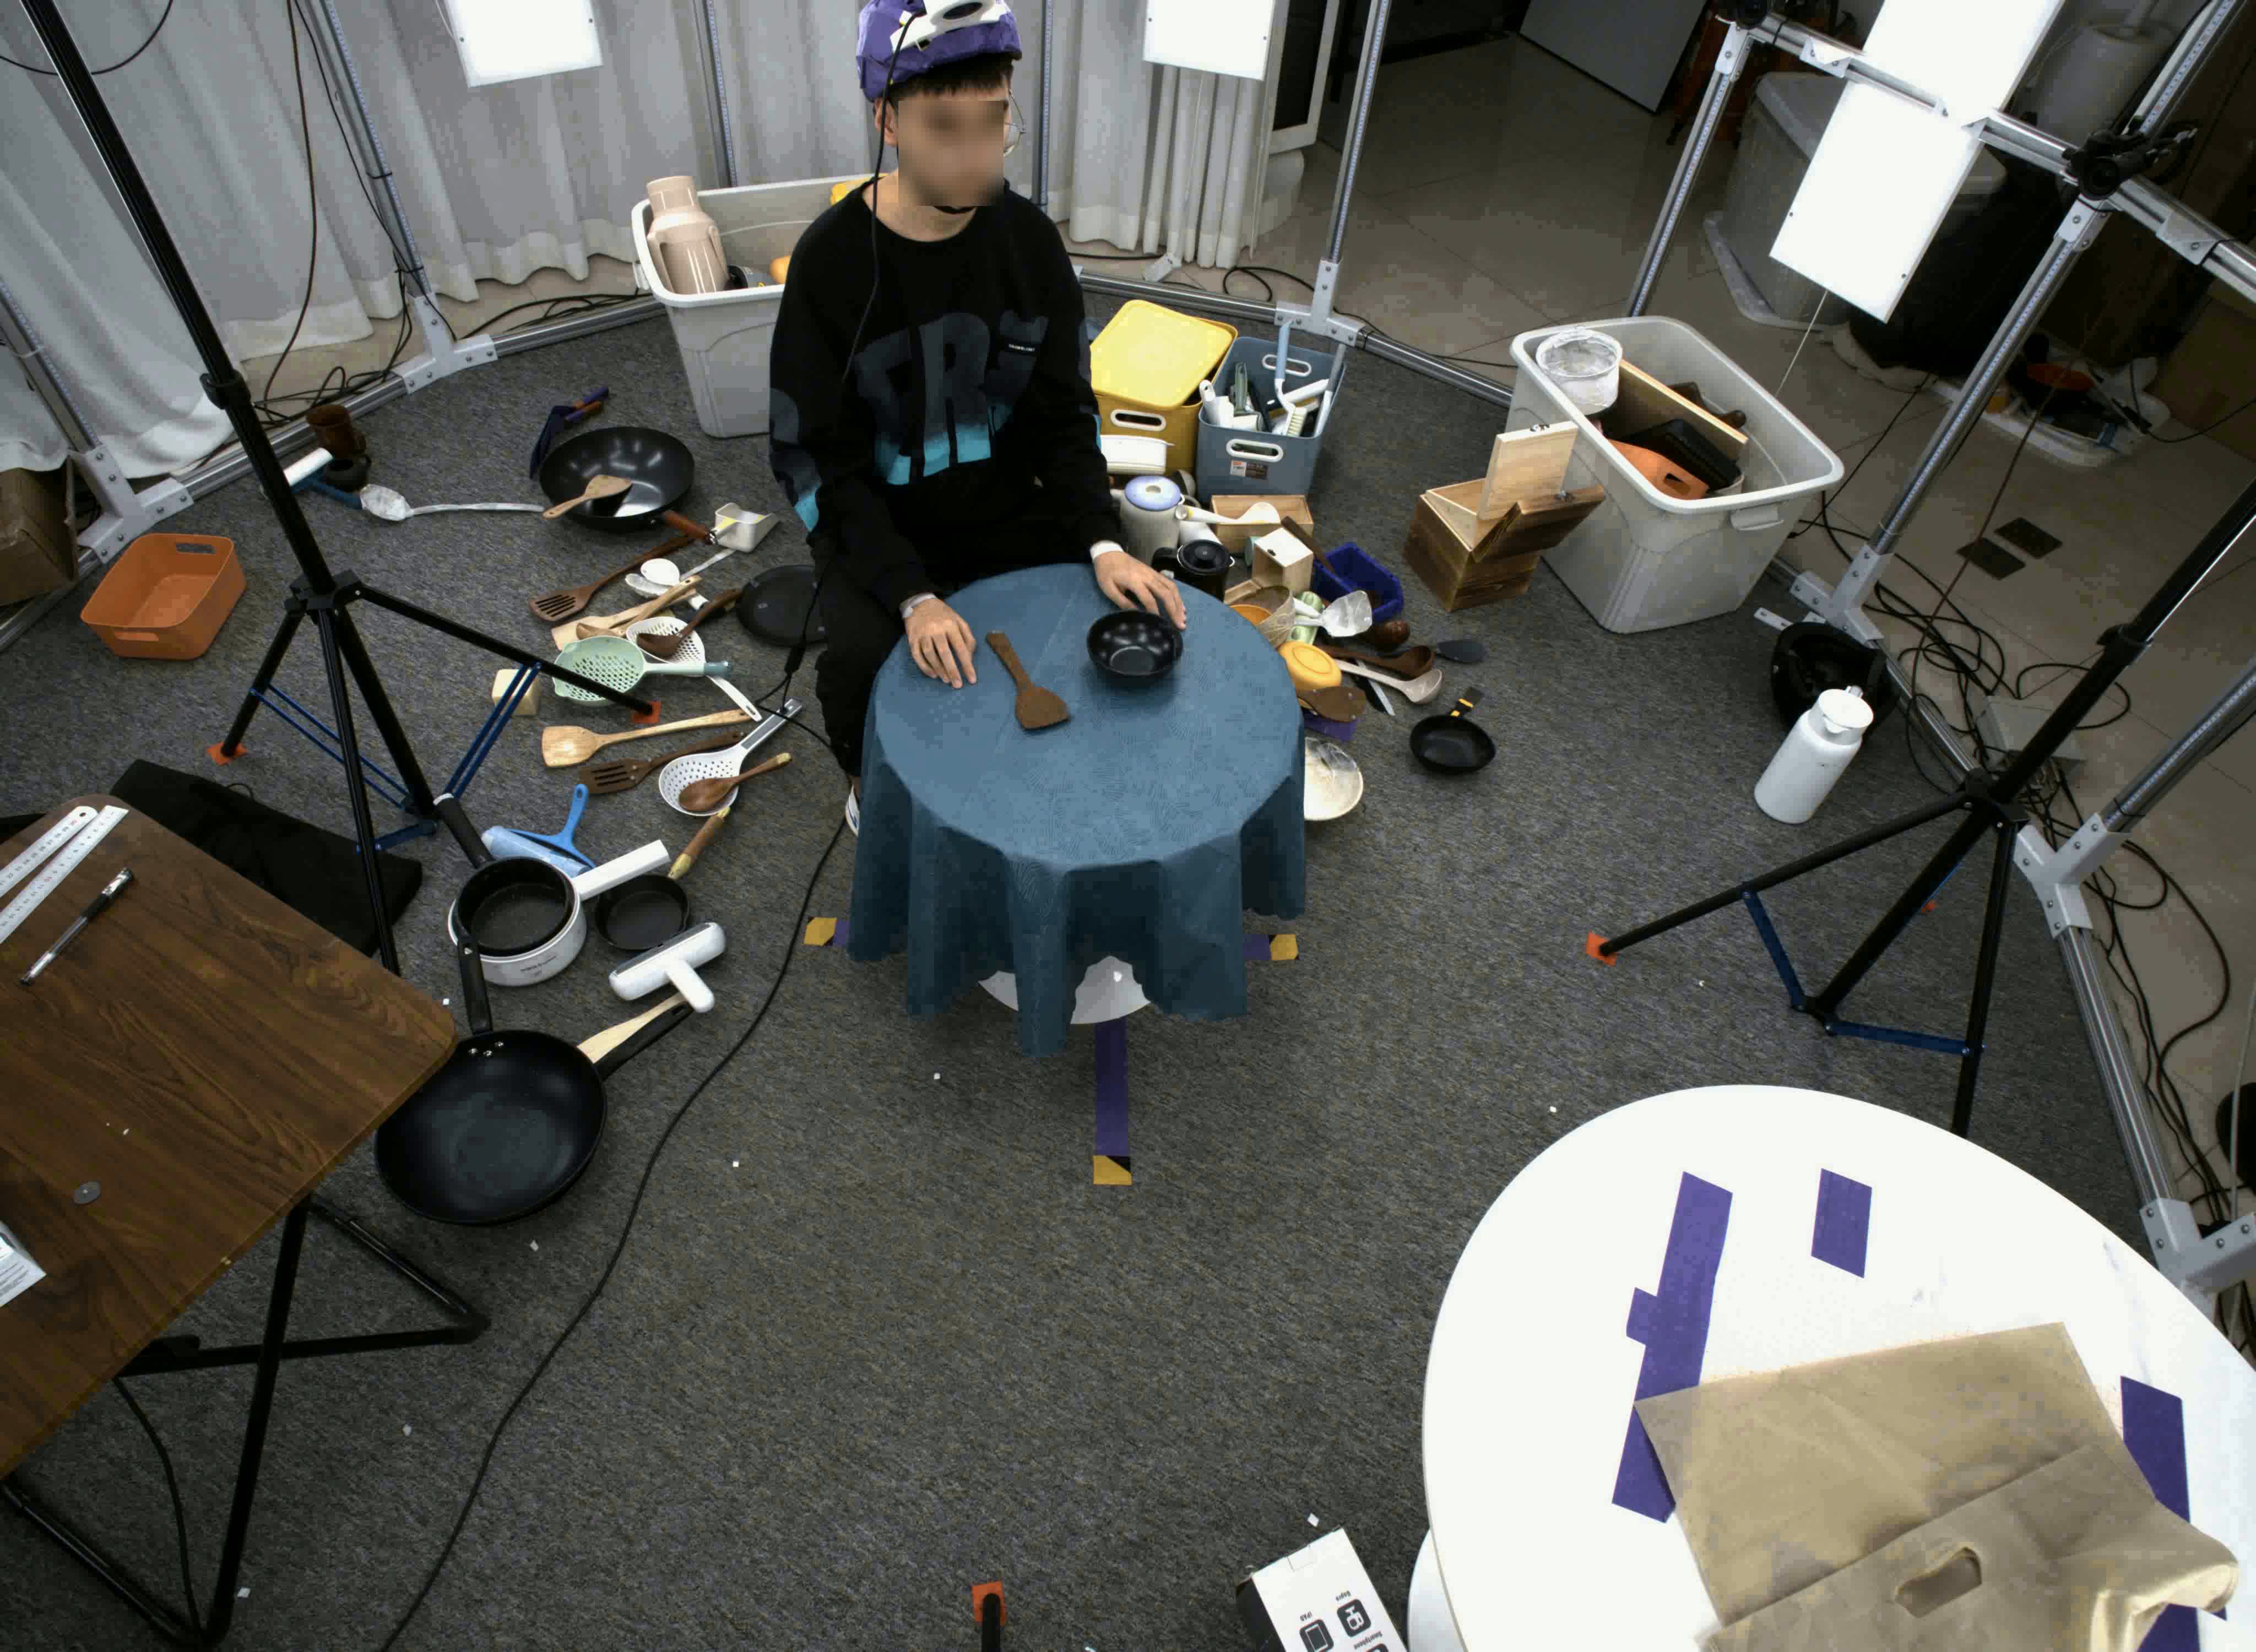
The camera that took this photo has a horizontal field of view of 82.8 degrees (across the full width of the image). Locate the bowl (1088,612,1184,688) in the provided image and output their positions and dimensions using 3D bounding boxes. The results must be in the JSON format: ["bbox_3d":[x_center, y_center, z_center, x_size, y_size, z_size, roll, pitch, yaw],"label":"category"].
[{"bbox_3d":[0.012,-0.248,1.871,0.140,0.048,0.143,0,50,0],"label":"bowl"}]

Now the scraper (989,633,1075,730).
[{"bbox_3d":[-0.150,-0.212,1.854,0.076,0.010,0.216,-17,51,-19],"label":"scraper"}]
